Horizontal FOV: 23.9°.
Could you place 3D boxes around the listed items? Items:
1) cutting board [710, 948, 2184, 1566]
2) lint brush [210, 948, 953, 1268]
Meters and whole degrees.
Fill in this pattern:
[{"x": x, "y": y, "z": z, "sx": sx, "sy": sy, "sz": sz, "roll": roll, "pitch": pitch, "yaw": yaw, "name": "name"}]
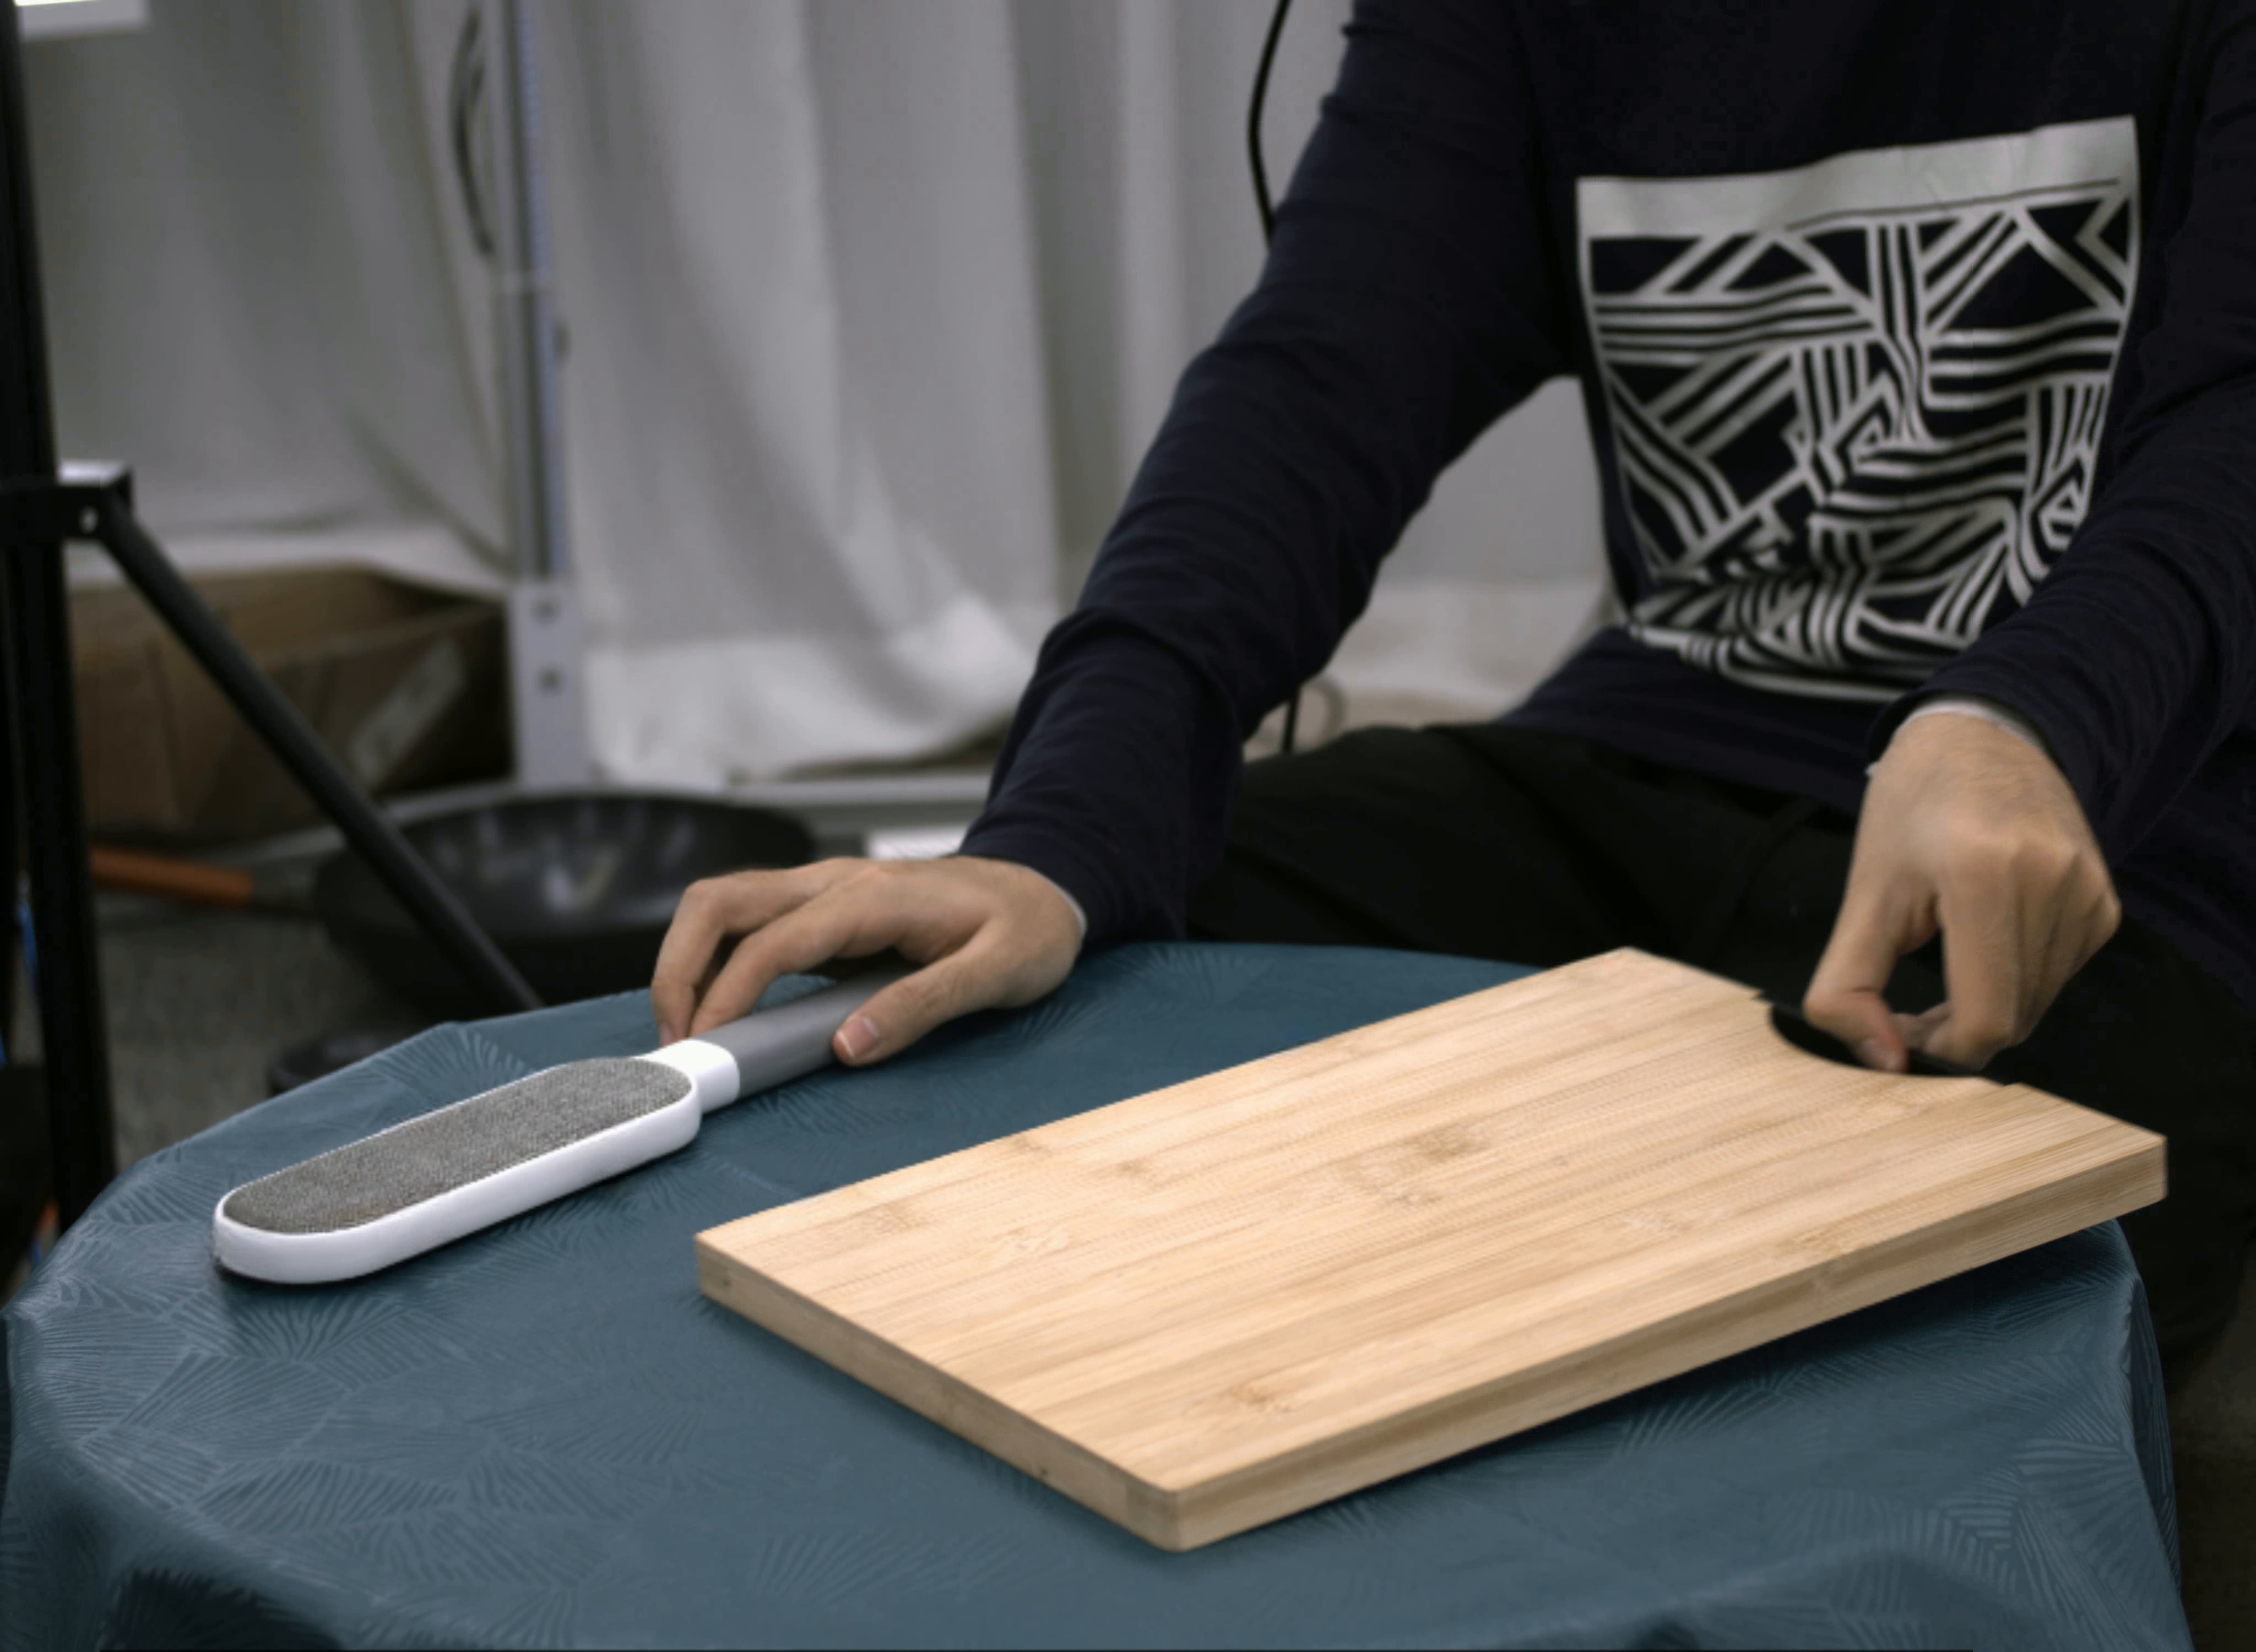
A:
[{"x": 0.087, "y": 0.110, "z": 1.482, "sx": 0.341, "sy": 0.023, "sz": 0.256, "roll": -16, "pitch": 21, "yaw": -31, "name": "cutting board"}, {"x": -0.156, "y": 0.083, "z": 1.622, "sx": 0.061, "sy": 0.021, "sz": 0.302, "roll": 6, "pitch": 18, "yaw": 39, "name": "lint brush"}]
